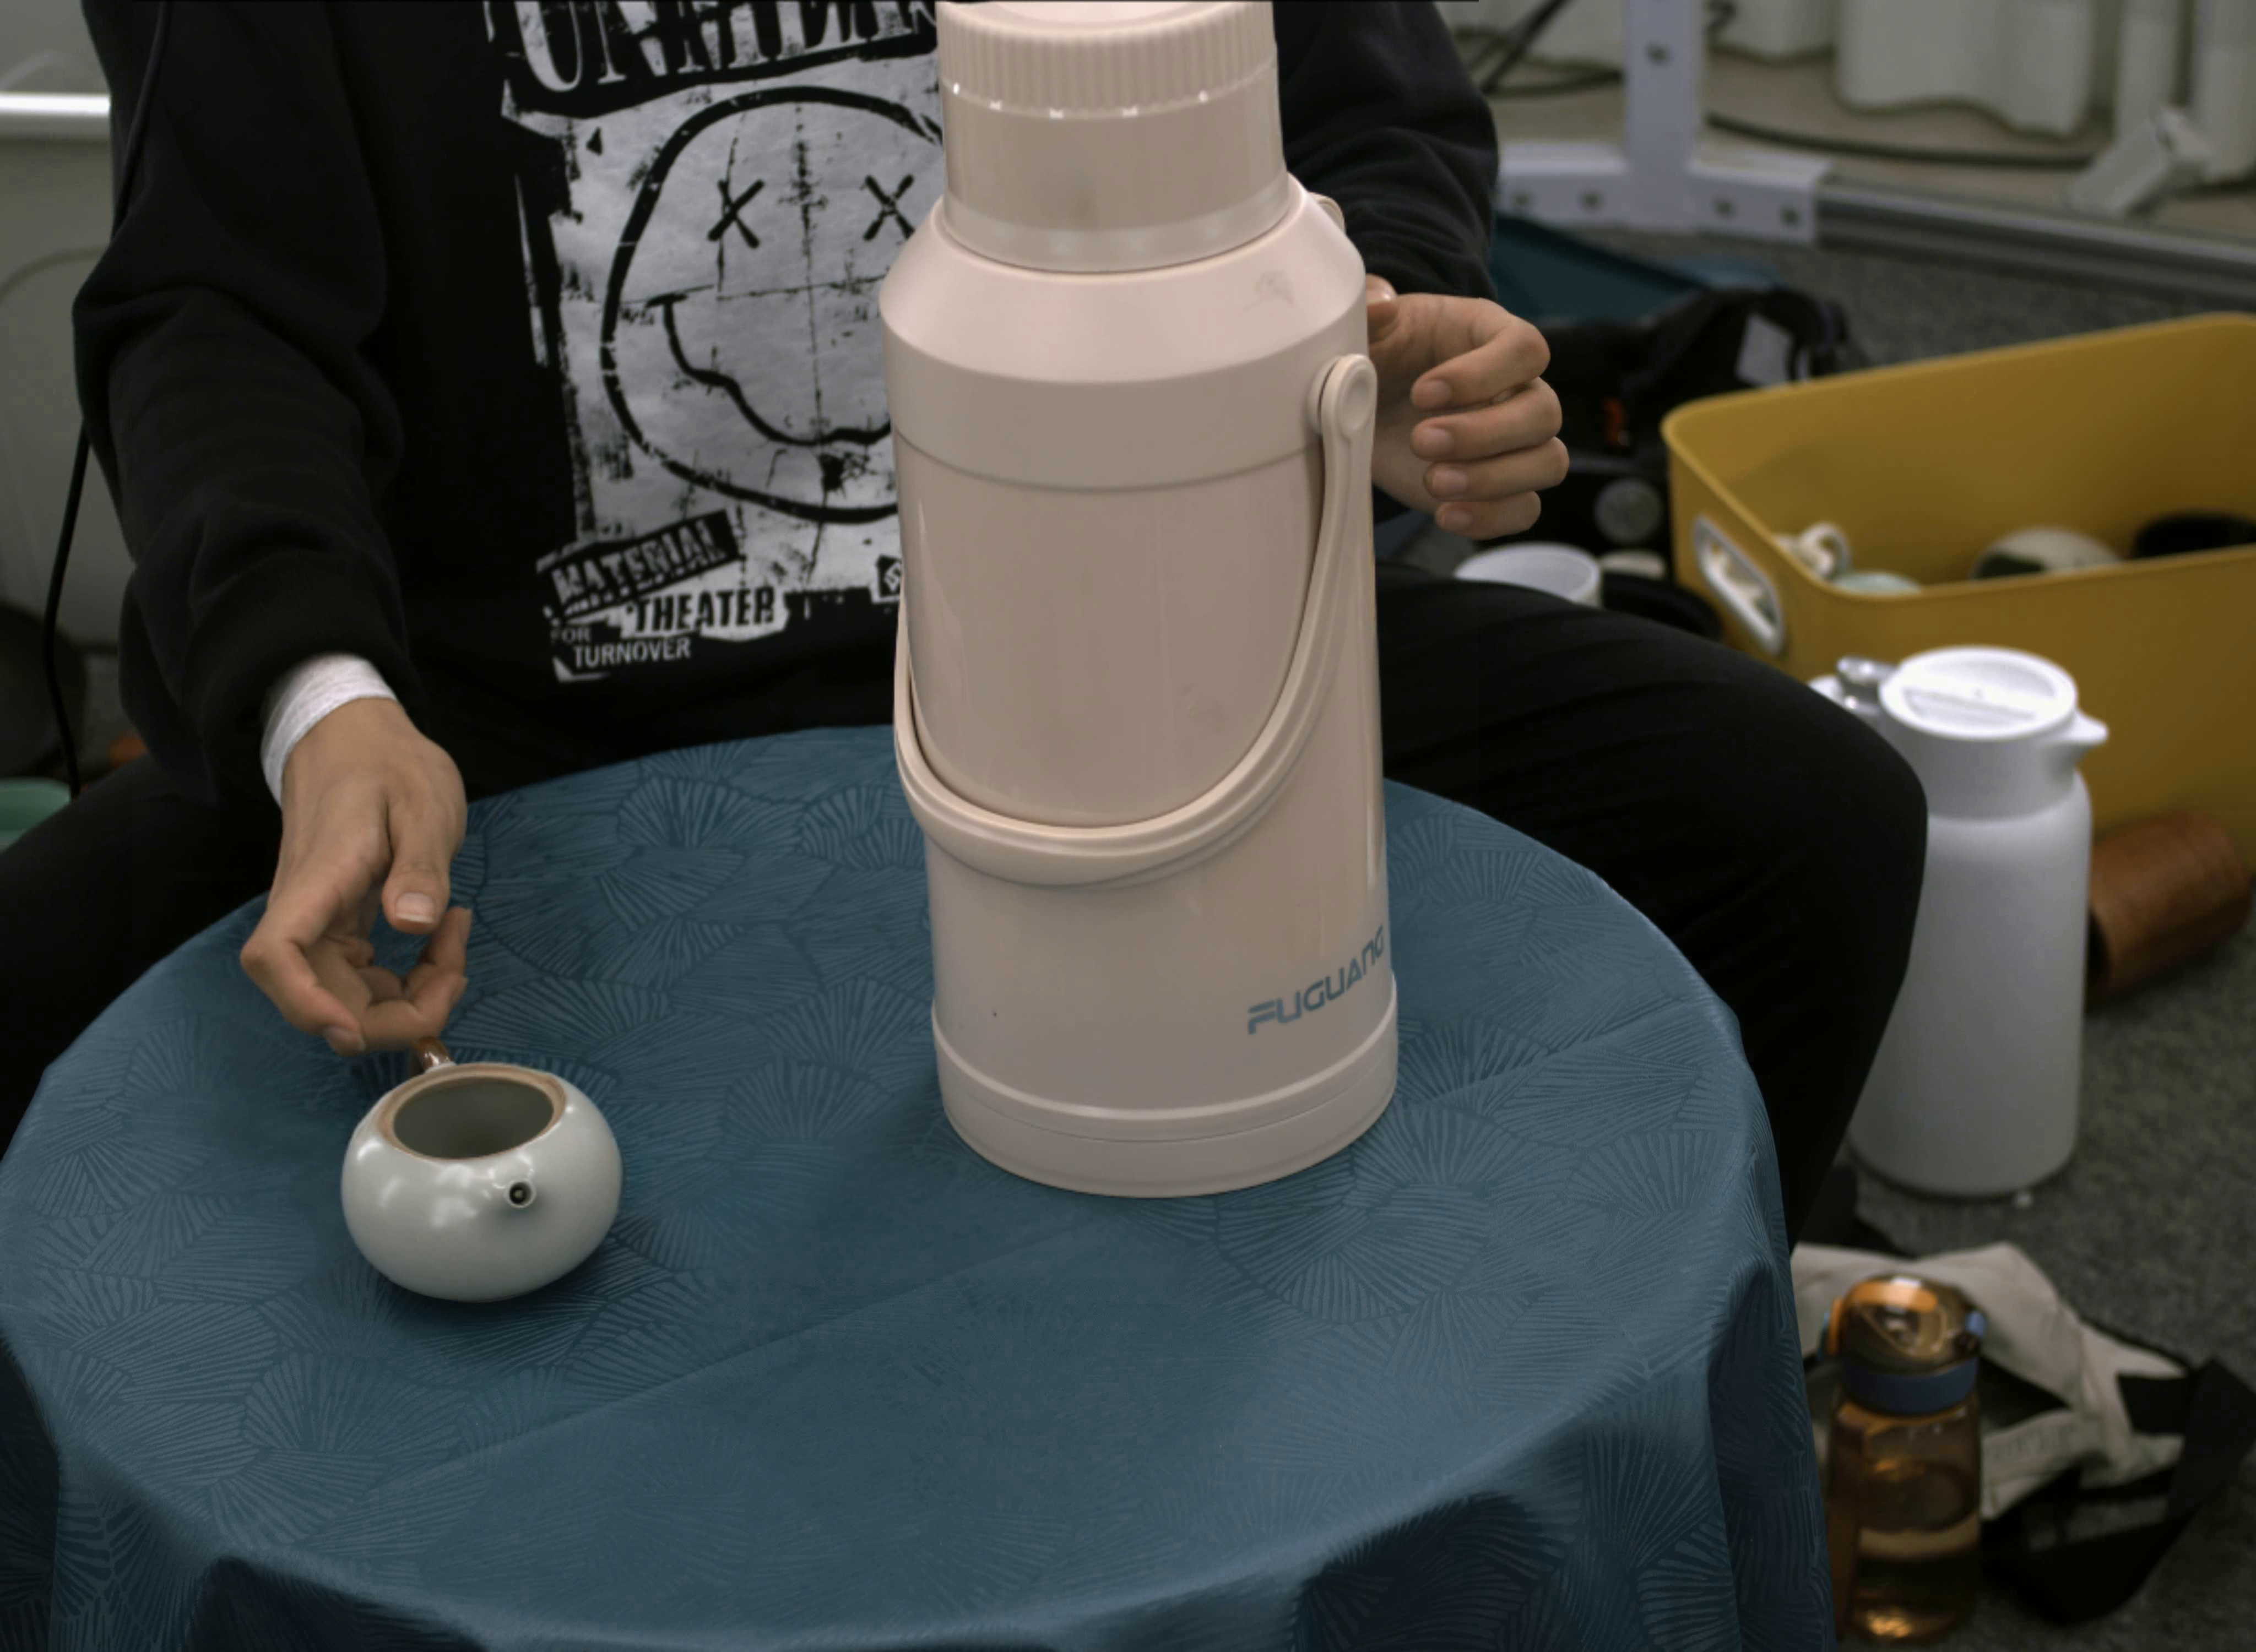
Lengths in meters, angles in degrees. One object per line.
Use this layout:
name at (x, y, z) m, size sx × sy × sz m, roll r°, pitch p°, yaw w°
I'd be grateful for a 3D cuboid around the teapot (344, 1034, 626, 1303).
teapot at (-0.213, 0.112, 1.834) m, size 0.092 × 0.059 × 0.129 m, roll -18°, pitch 31°, yaw -18°

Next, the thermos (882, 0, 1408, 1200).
thermos at (0.014, -0.094, 1.849) m, size 0.174 × 0.402 × 0.210 m, roll 12°, pitch 30°, yaw 30°
